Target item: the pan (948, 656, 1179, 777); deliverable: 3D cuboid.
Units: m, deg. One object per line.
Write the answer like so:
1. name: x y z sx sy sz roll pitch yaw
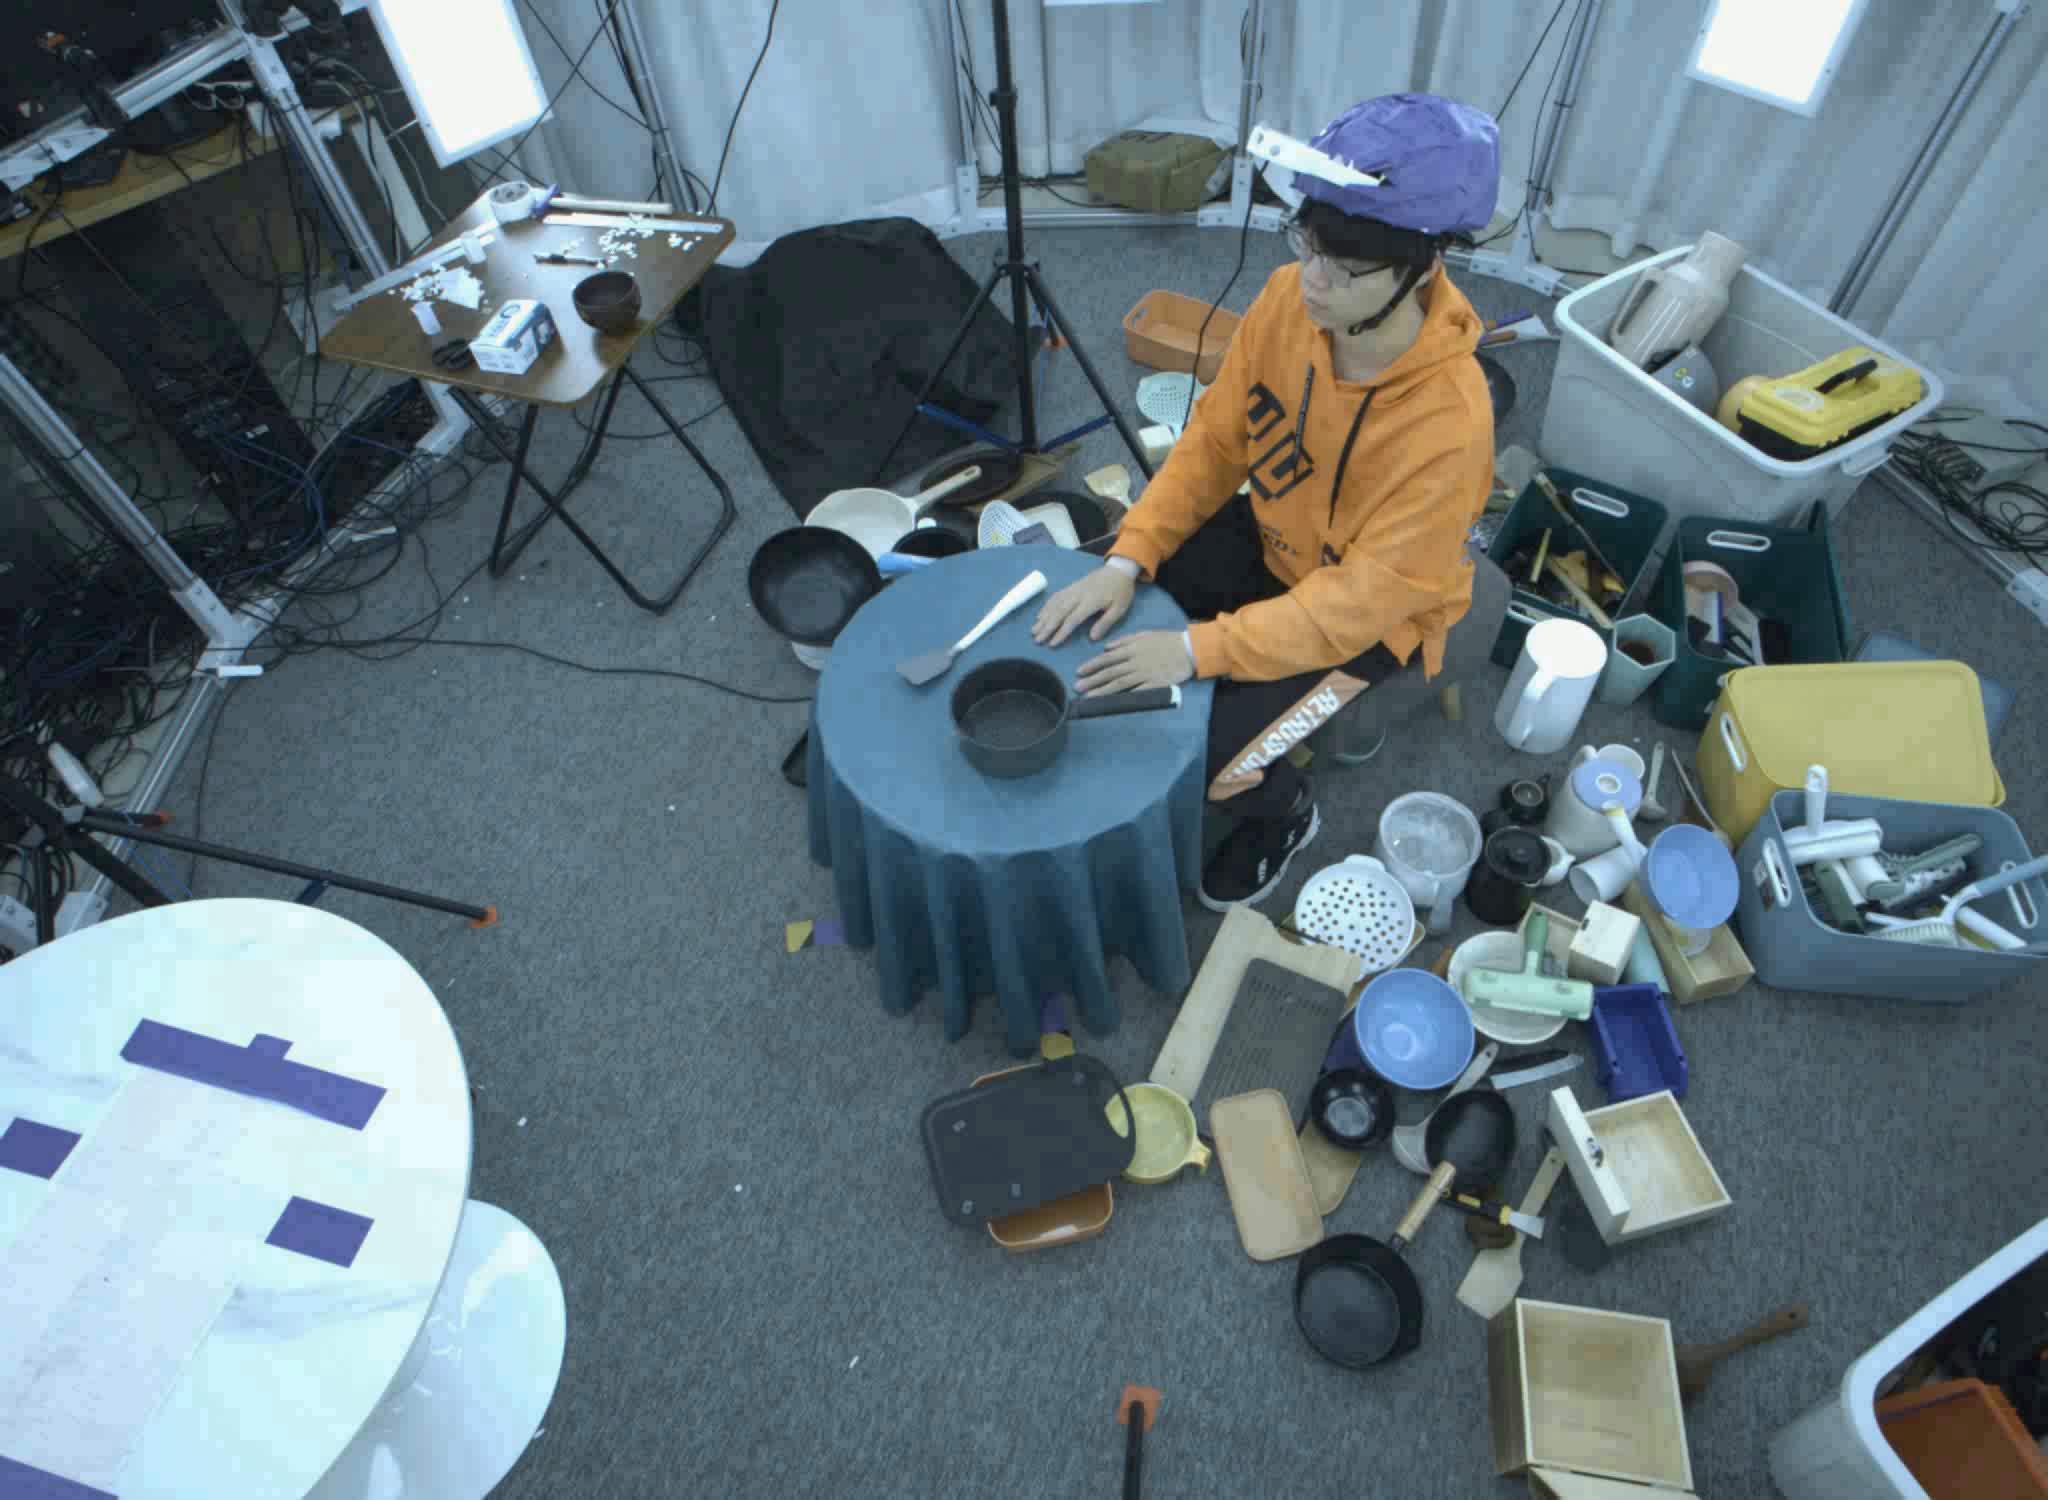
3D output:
1. pan: 0.059 -0.049 1.767 0.328 0.087 0.170 0 56 4

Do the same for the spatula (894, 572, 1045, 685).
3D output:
1. spatula: -0.079 -0.187 1.903 0.058 0.032 0.289 41 65 21
